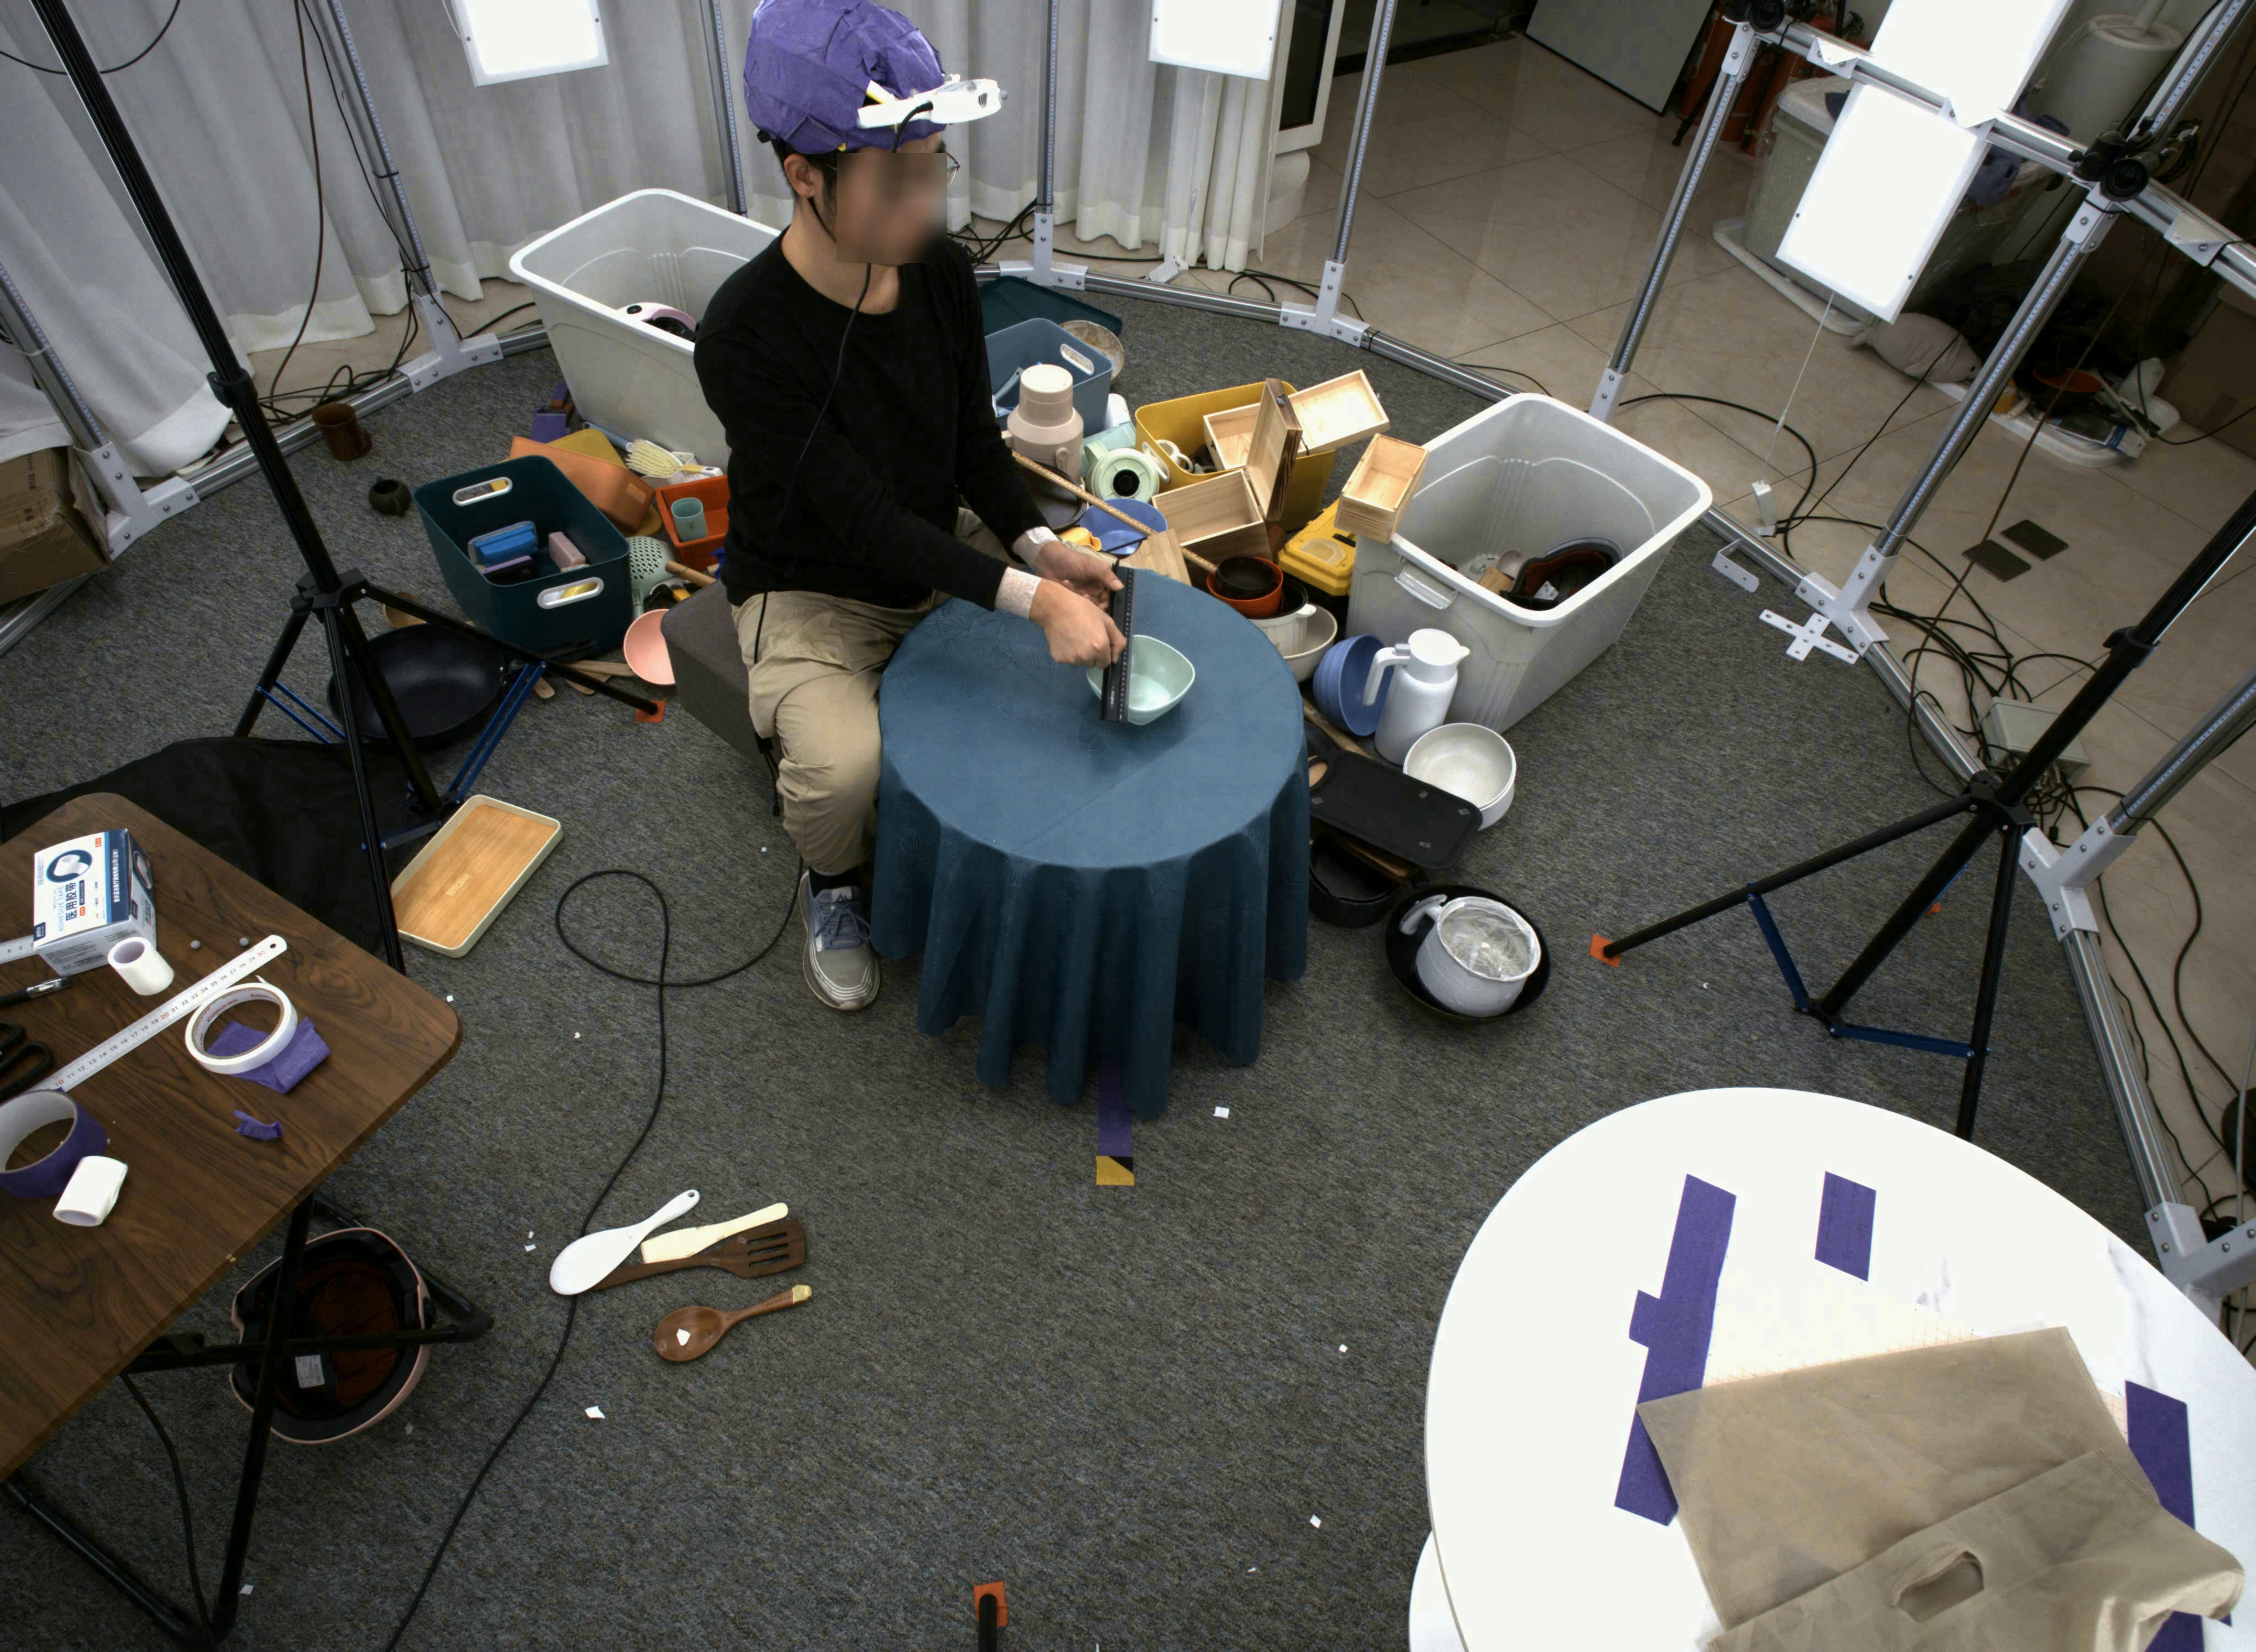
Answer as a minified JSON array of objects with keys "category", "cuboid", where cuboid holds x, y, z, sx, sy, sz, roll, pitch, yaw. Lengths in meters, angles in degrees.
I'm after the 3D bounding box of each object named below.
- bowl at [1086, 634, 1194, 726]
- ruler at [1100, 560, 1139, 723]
[{"category":"bowl","cuboid":[0.016,-0.197,1.807,0.151,0.057,0.155,2,51,-3]},{"category":"ruler","cuboid":[-0.009,-0.266,1.806,0.039,0.017,0.320,12,49,-10]}]
